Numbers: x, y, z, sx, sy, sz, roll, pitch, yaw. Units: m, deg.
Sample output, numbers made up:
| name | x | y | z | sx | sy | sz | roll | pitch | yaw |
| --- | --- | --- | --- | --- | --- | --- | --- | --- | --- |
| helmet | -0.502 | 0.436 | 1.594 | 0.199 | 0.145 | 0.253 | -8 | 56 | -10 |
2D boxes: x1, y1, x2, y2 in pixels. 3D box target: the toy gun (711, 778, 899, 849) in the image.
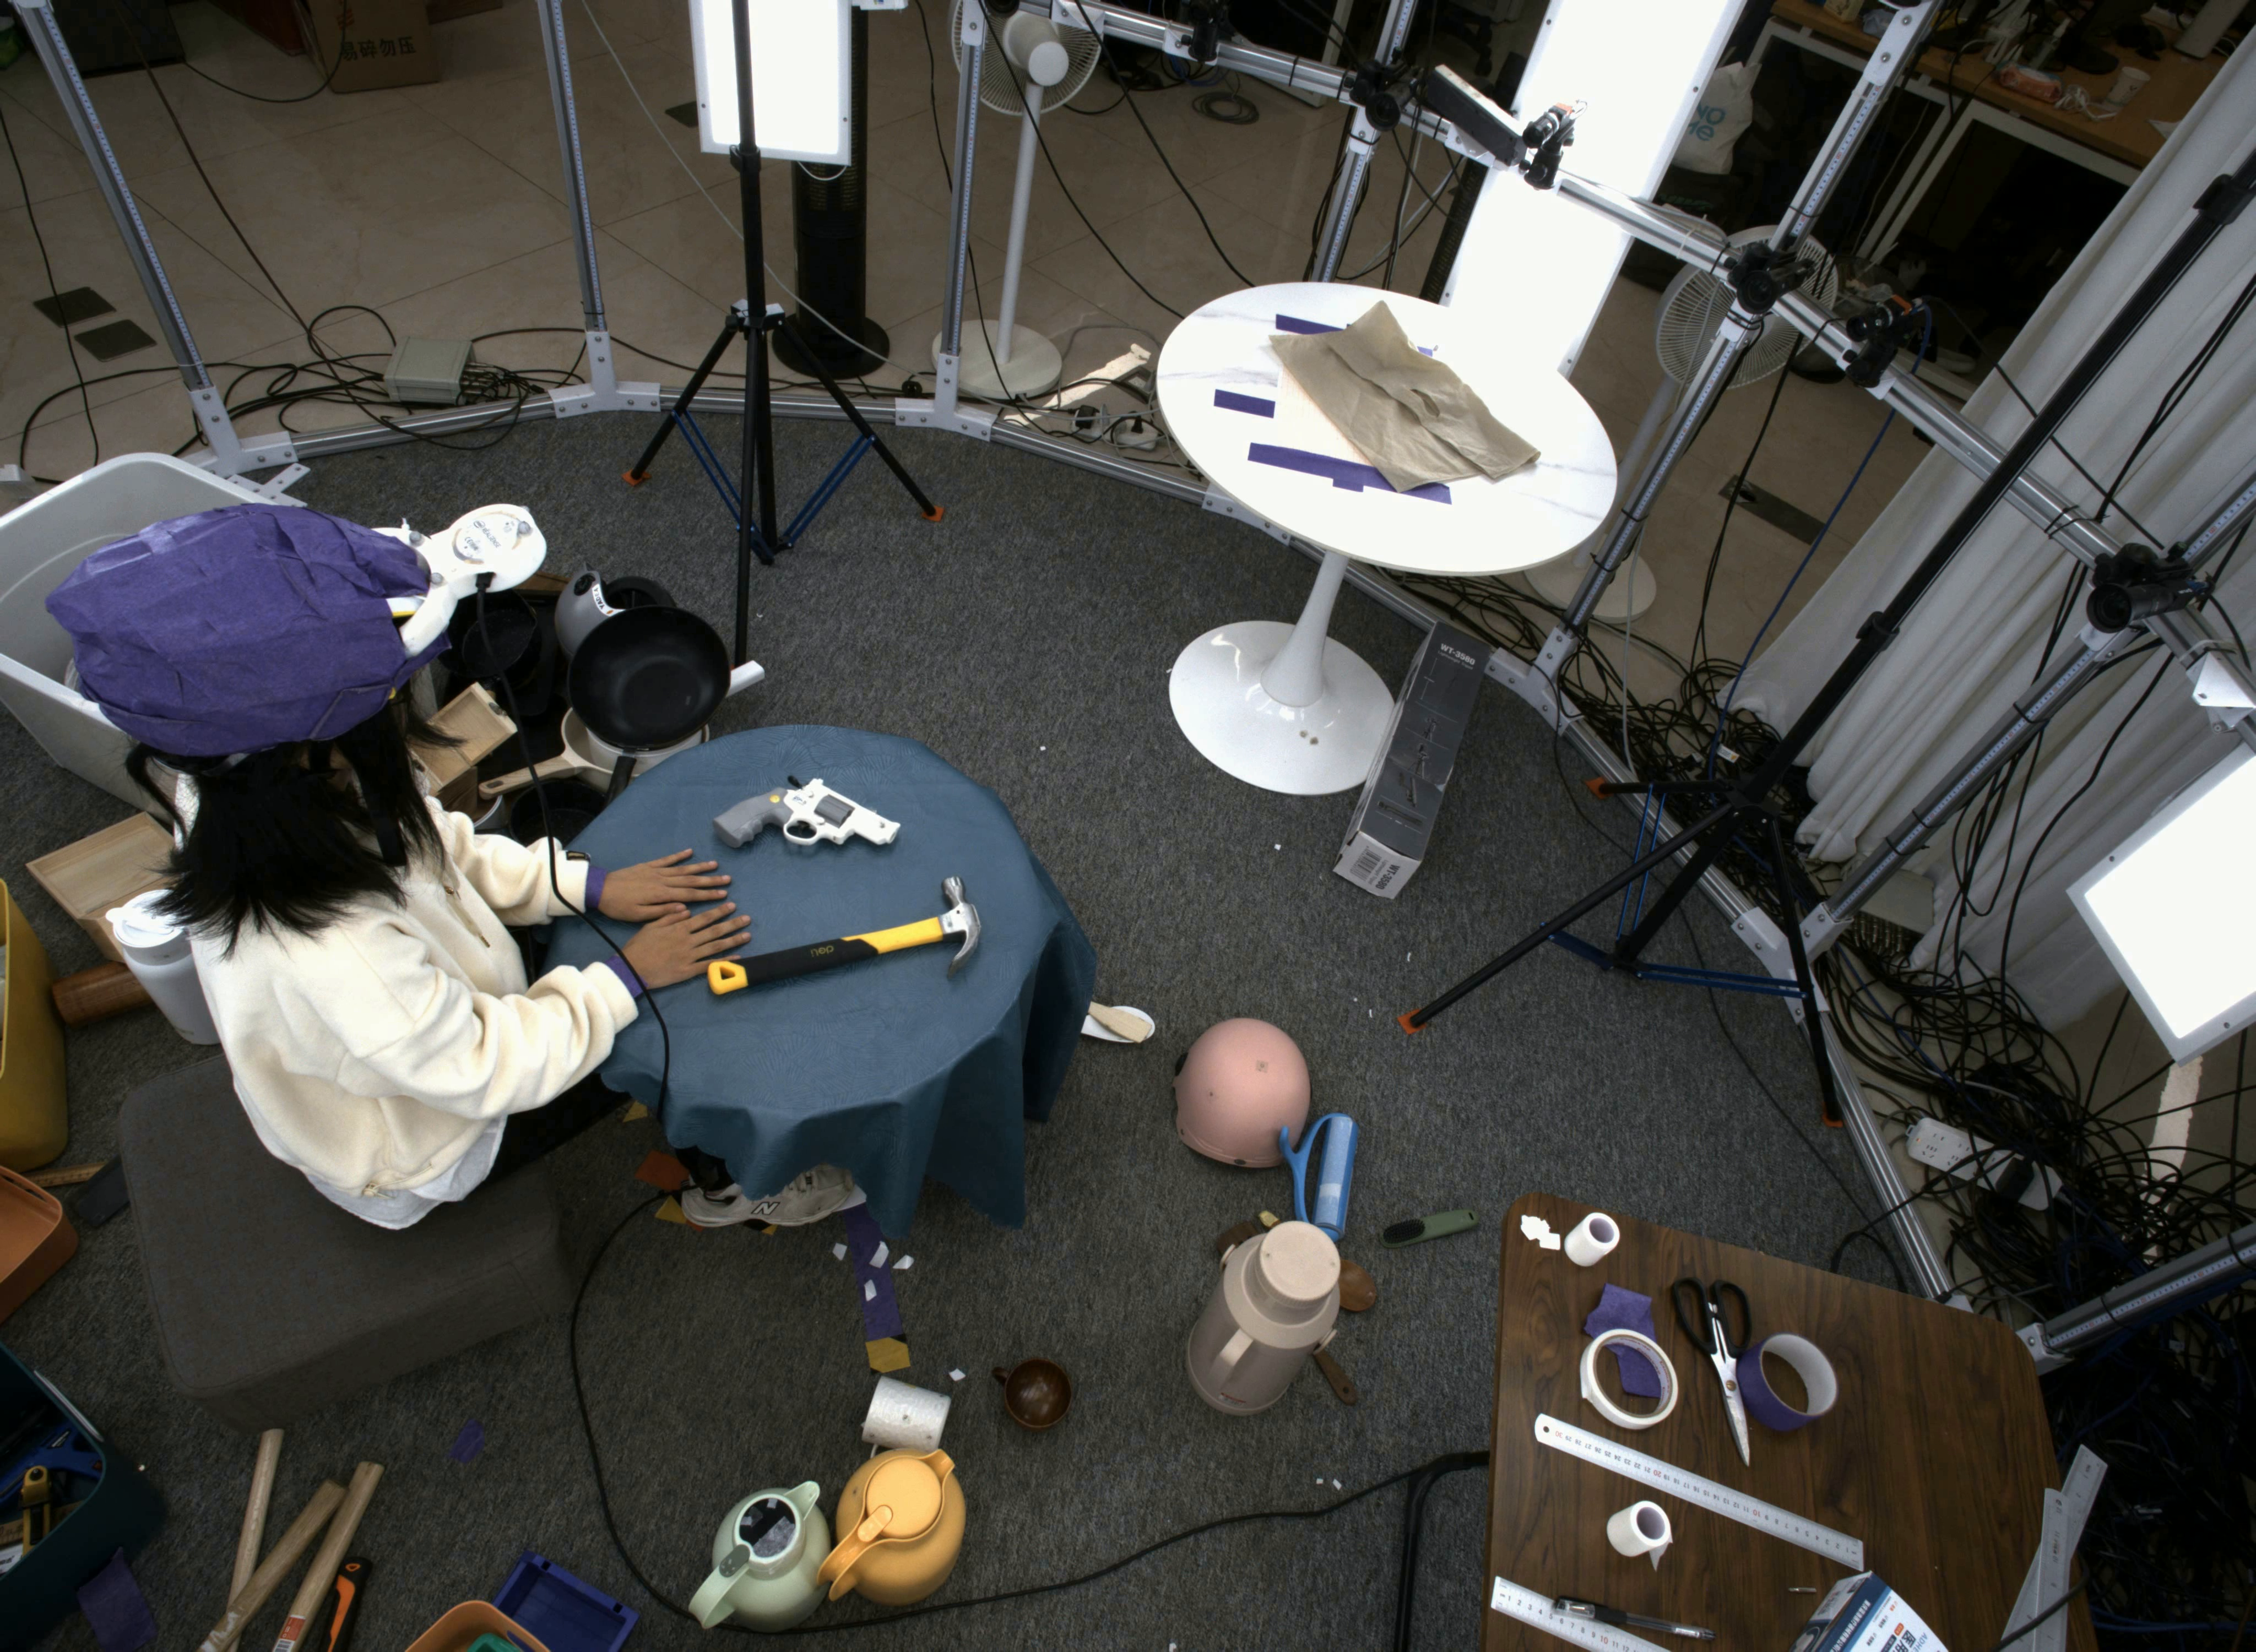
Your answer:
| name | x | y | z | sx | sy | sz | roll | pitch | yaw |
| --- | --- | --- | --- | --- | --- | --- | --- | --- | --- |
| toy gun | -0.422 | -0.002 | 1.695 | 0.206 | 0.039 | 0.140 | 25 | 51 | 4 |

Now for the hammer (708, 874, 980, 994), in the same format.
| name | x | y | z | sx | sy | sz | roll | pitch | yaw |
| --- | --- | --- | --- | --- | --- | --- | --- | --- | --- |
| hammer | -0.347 | 0.148 | 1.605 | 0.340 | 0.033 | 0.128 | -11 | 60 | -23 |
